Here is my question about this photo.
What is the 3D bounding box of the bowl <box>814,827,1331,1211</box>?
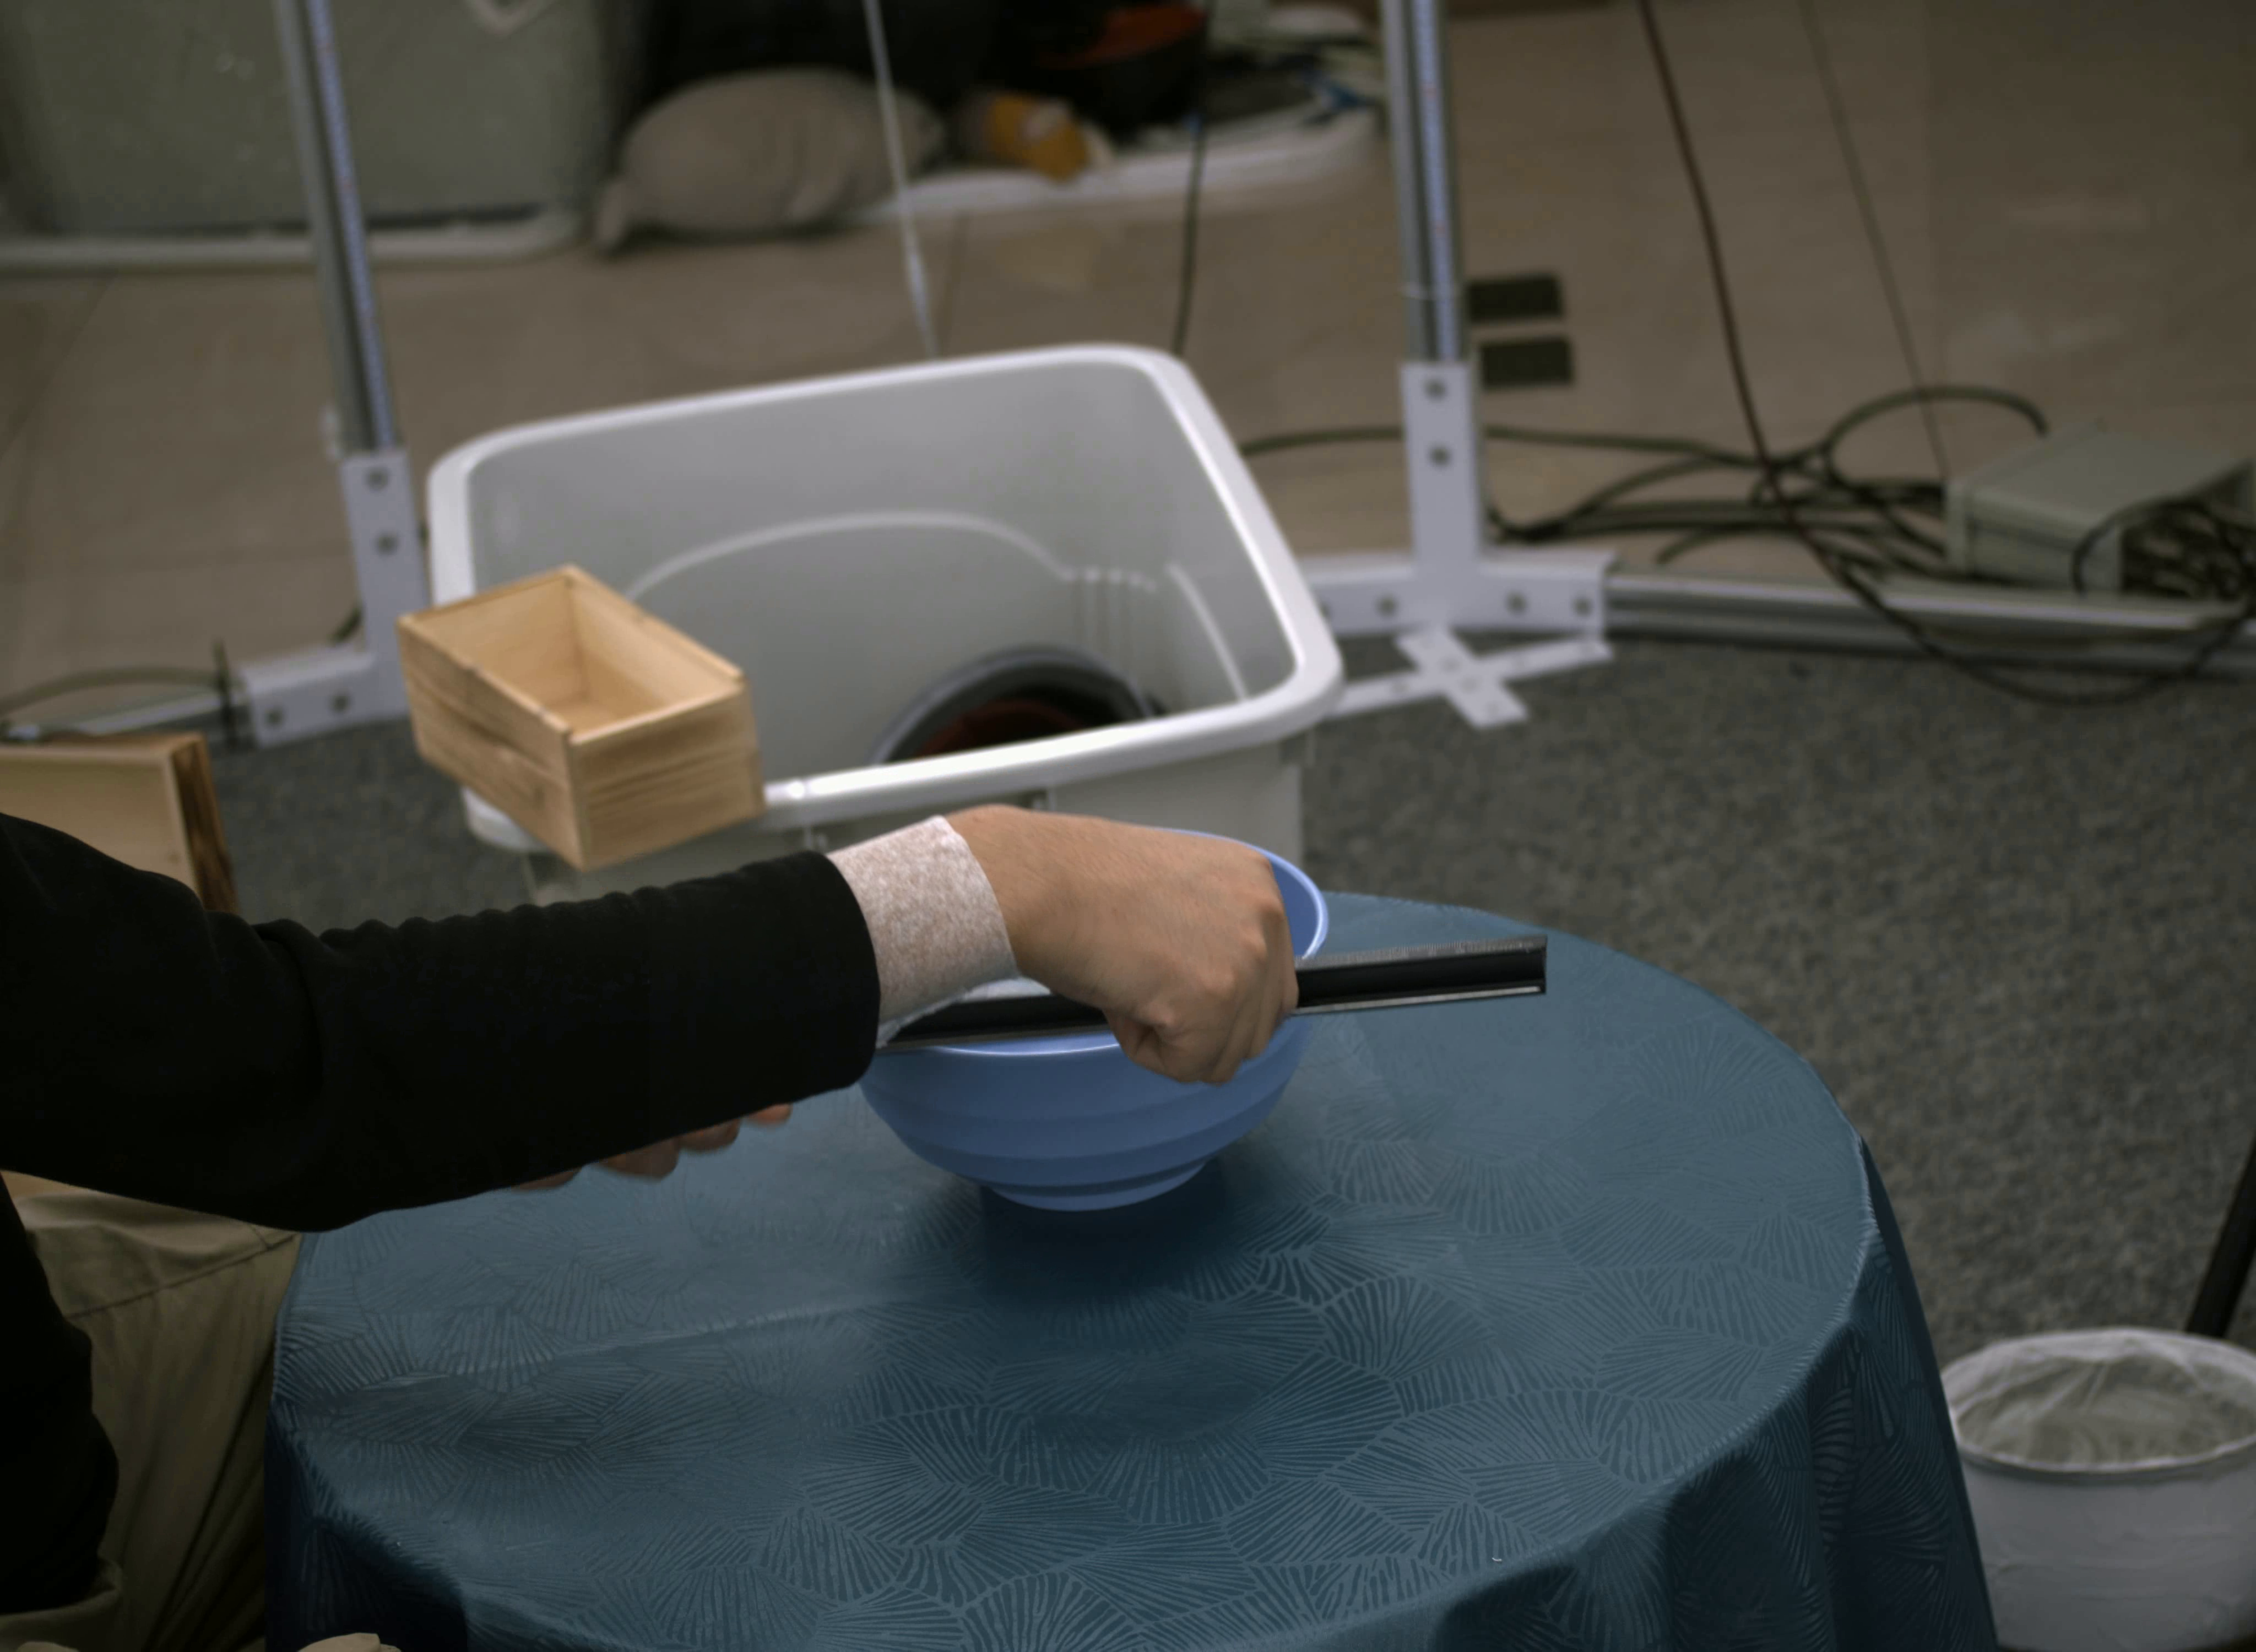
[{"bbox_3d":[-0.017,0.084,2.156,0.196,0.097,0.193,-5,25,2],"label":"bowl"}]

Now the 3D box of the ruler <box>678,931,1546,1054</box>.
[{"bbox_3d":[-0.007,0.053,2.016,0.312,0.017,0.038,-5,27,10],"label":"ruler"}]
